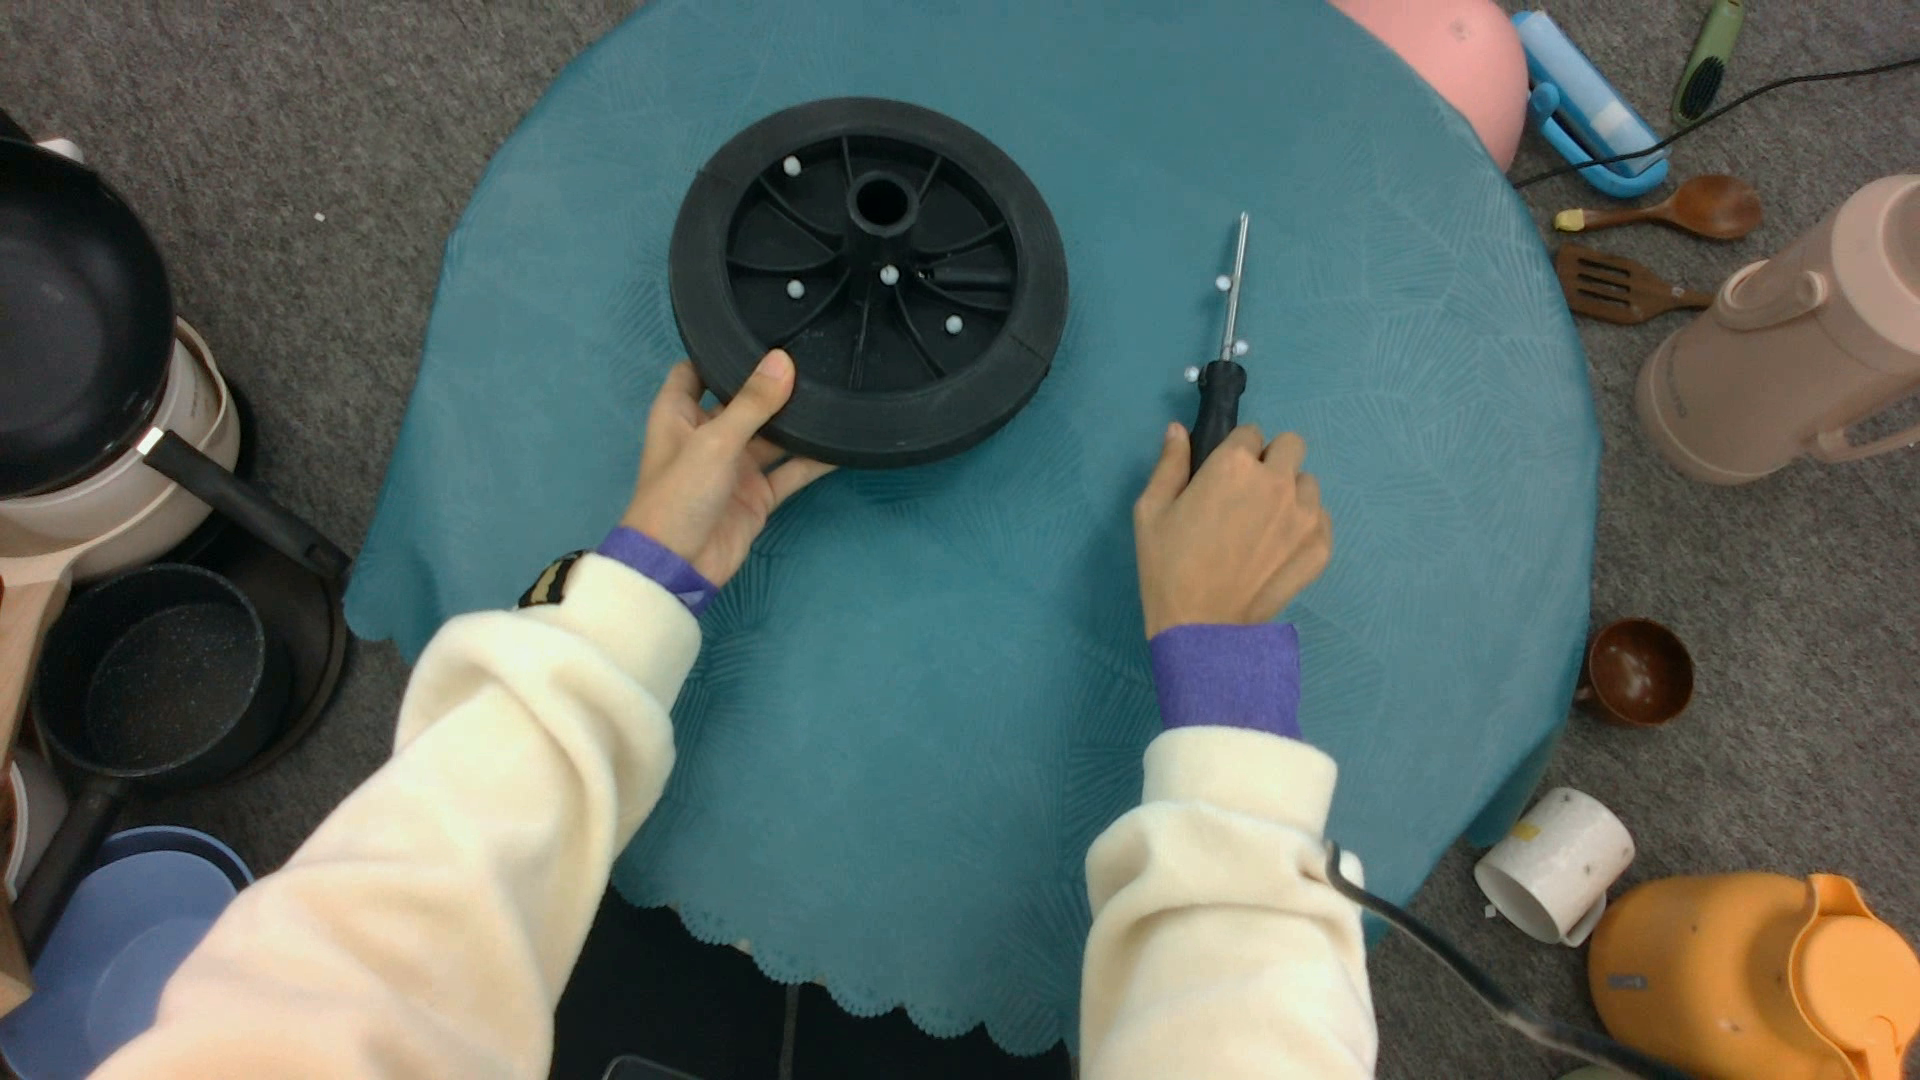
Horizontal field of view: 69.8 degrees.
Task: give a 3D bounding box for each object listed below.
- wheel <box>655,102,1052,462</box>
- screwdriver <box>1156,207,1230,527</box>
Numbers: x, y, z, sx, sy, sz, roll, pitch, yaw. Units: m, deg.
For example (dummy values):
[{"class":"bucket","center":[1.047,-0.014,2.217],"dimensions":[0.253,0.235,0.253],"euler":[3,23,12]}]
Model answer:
[{"class":"wheel","center":[-0.045,-0.134,0.637],"dimensions":[0.190,0.079,0.187],"euler":[-23,75,-18]},{"class":"screwdriver","center":[0.120,-0.095,0.690],"dimensions":[0.031,0.031,0.197],"euler":[11,63,-1]}]
